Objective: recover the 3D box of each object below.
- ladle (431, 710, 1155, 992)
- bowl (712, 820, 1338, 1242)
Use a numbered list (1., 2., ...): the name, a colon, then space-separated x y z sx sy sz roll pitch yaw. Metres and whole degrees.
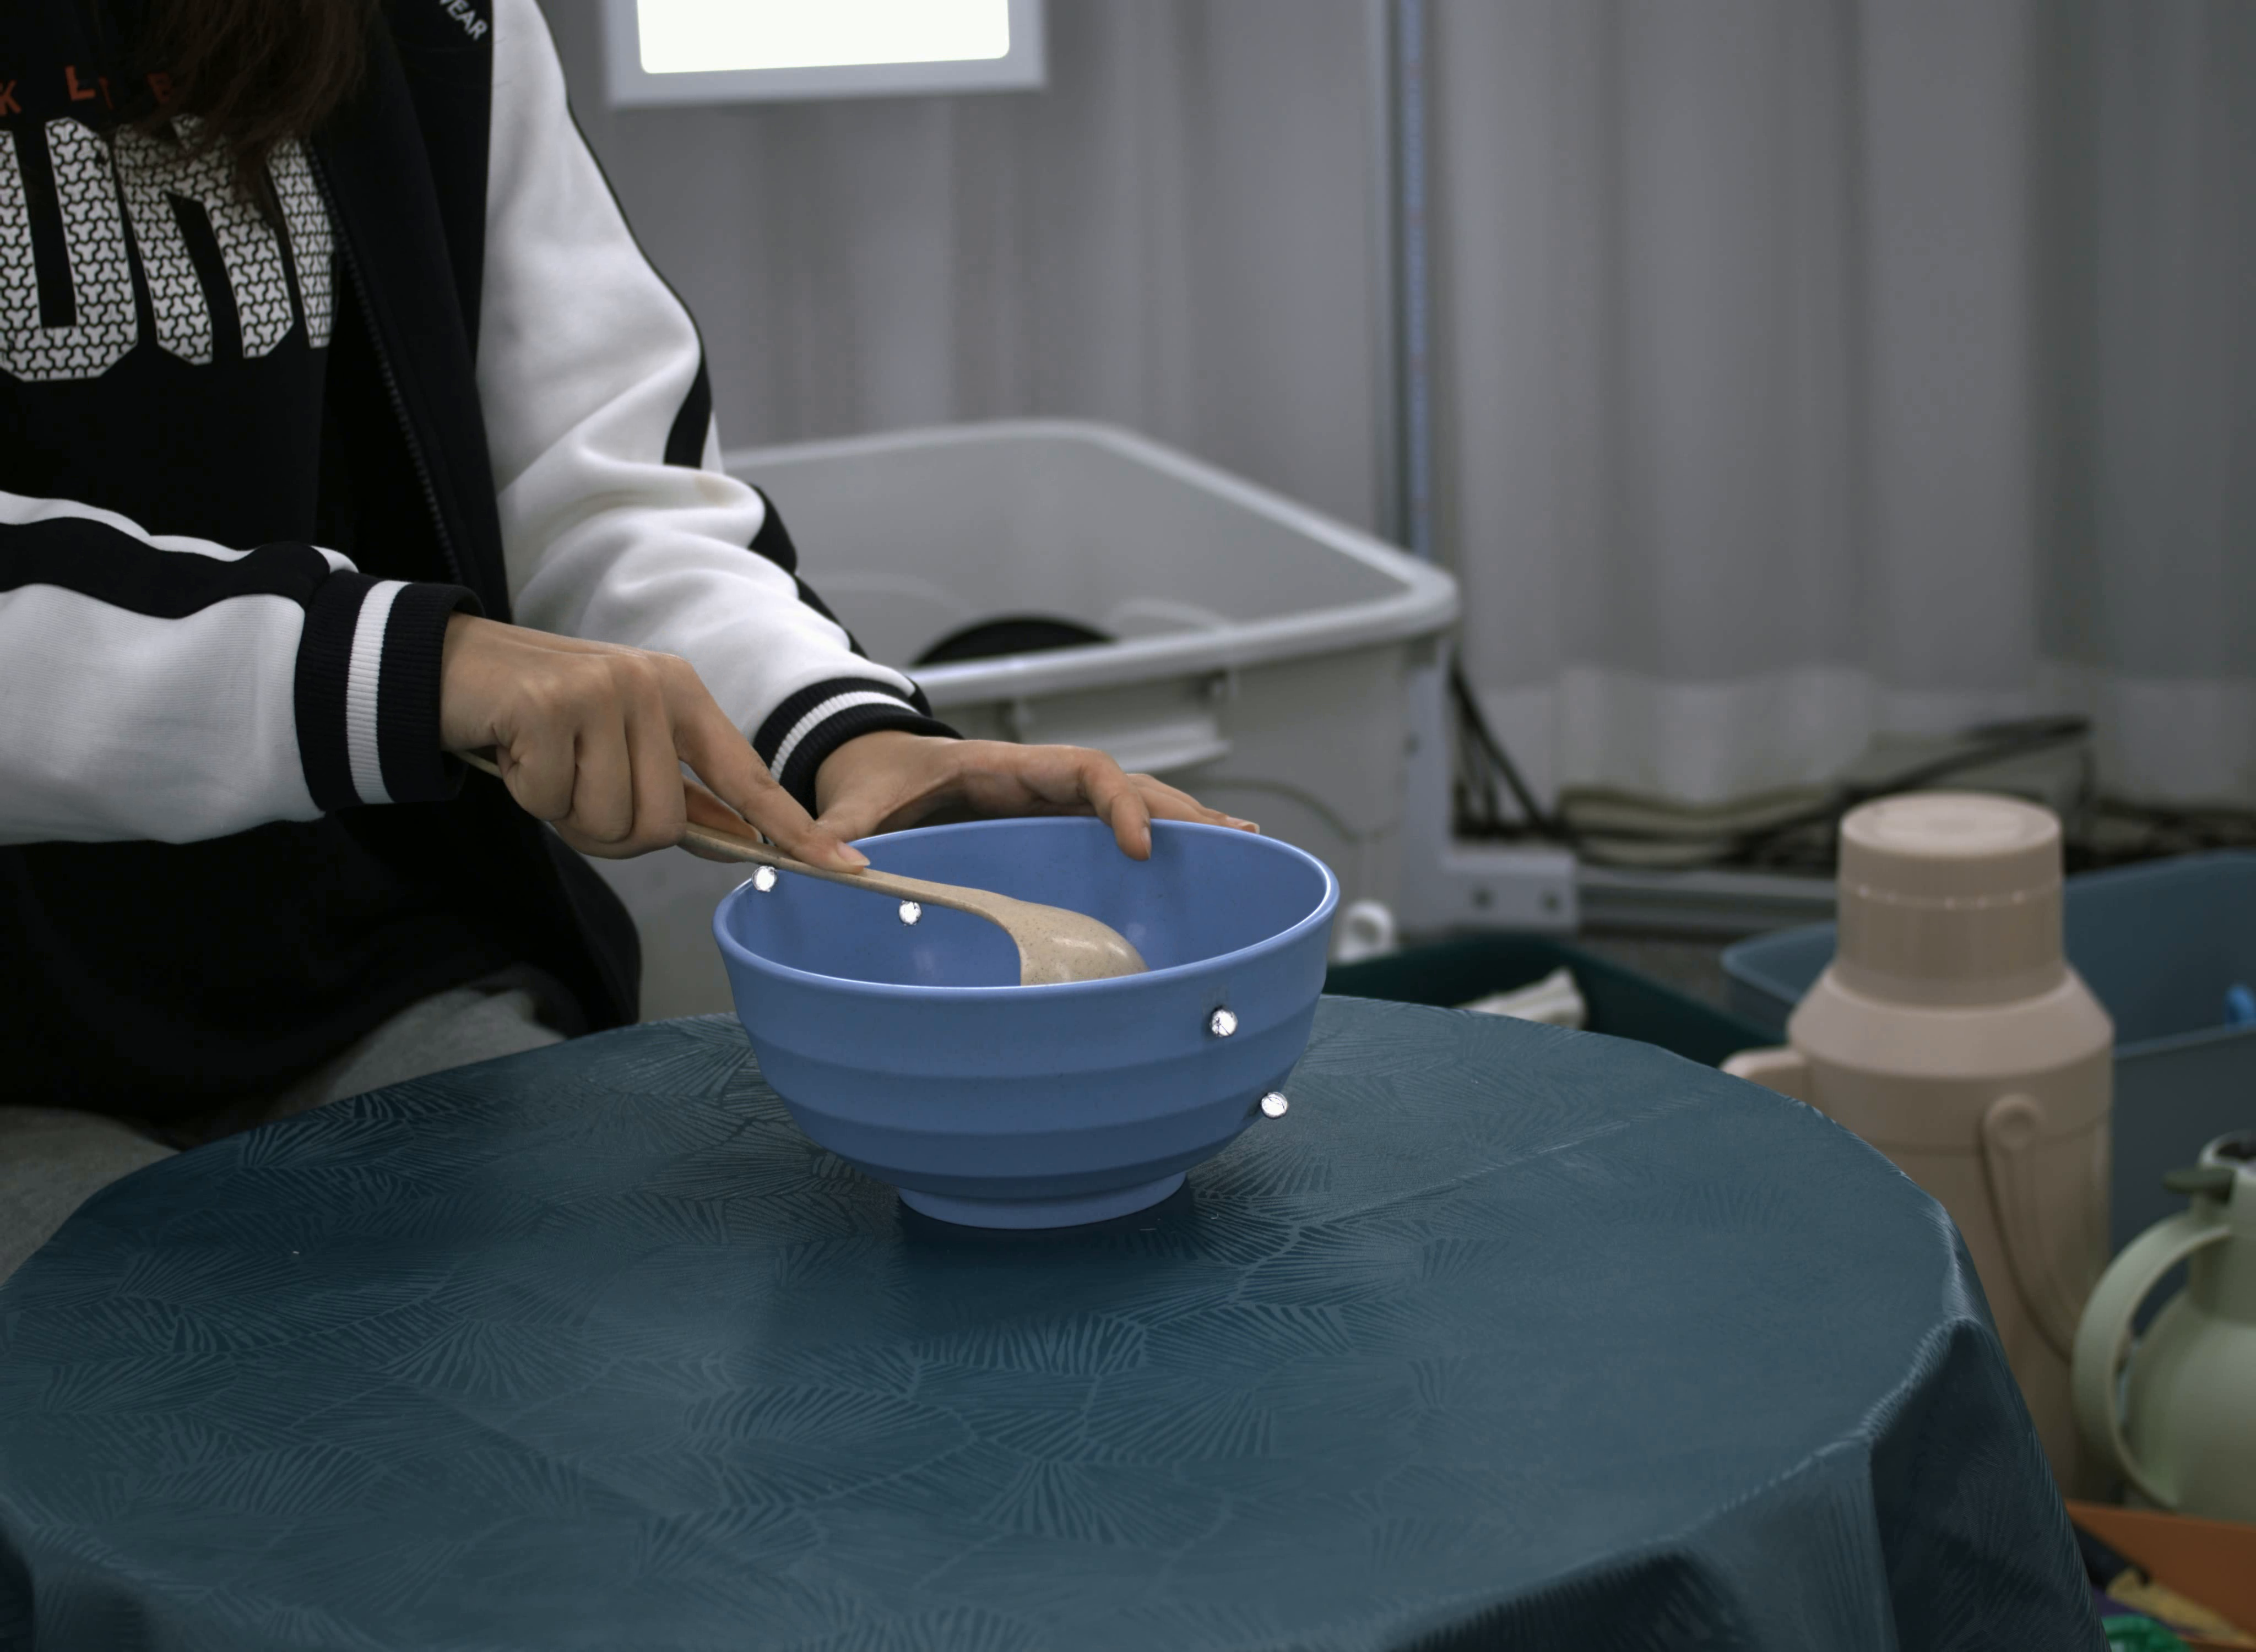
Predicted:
1. ladle: -0.112 0.035 1.740 0.254 0.072 0.072 18 17 12
2. bowl: -0.029 0.071 1.716 0.196 0.095 0.198 -4 15 1
